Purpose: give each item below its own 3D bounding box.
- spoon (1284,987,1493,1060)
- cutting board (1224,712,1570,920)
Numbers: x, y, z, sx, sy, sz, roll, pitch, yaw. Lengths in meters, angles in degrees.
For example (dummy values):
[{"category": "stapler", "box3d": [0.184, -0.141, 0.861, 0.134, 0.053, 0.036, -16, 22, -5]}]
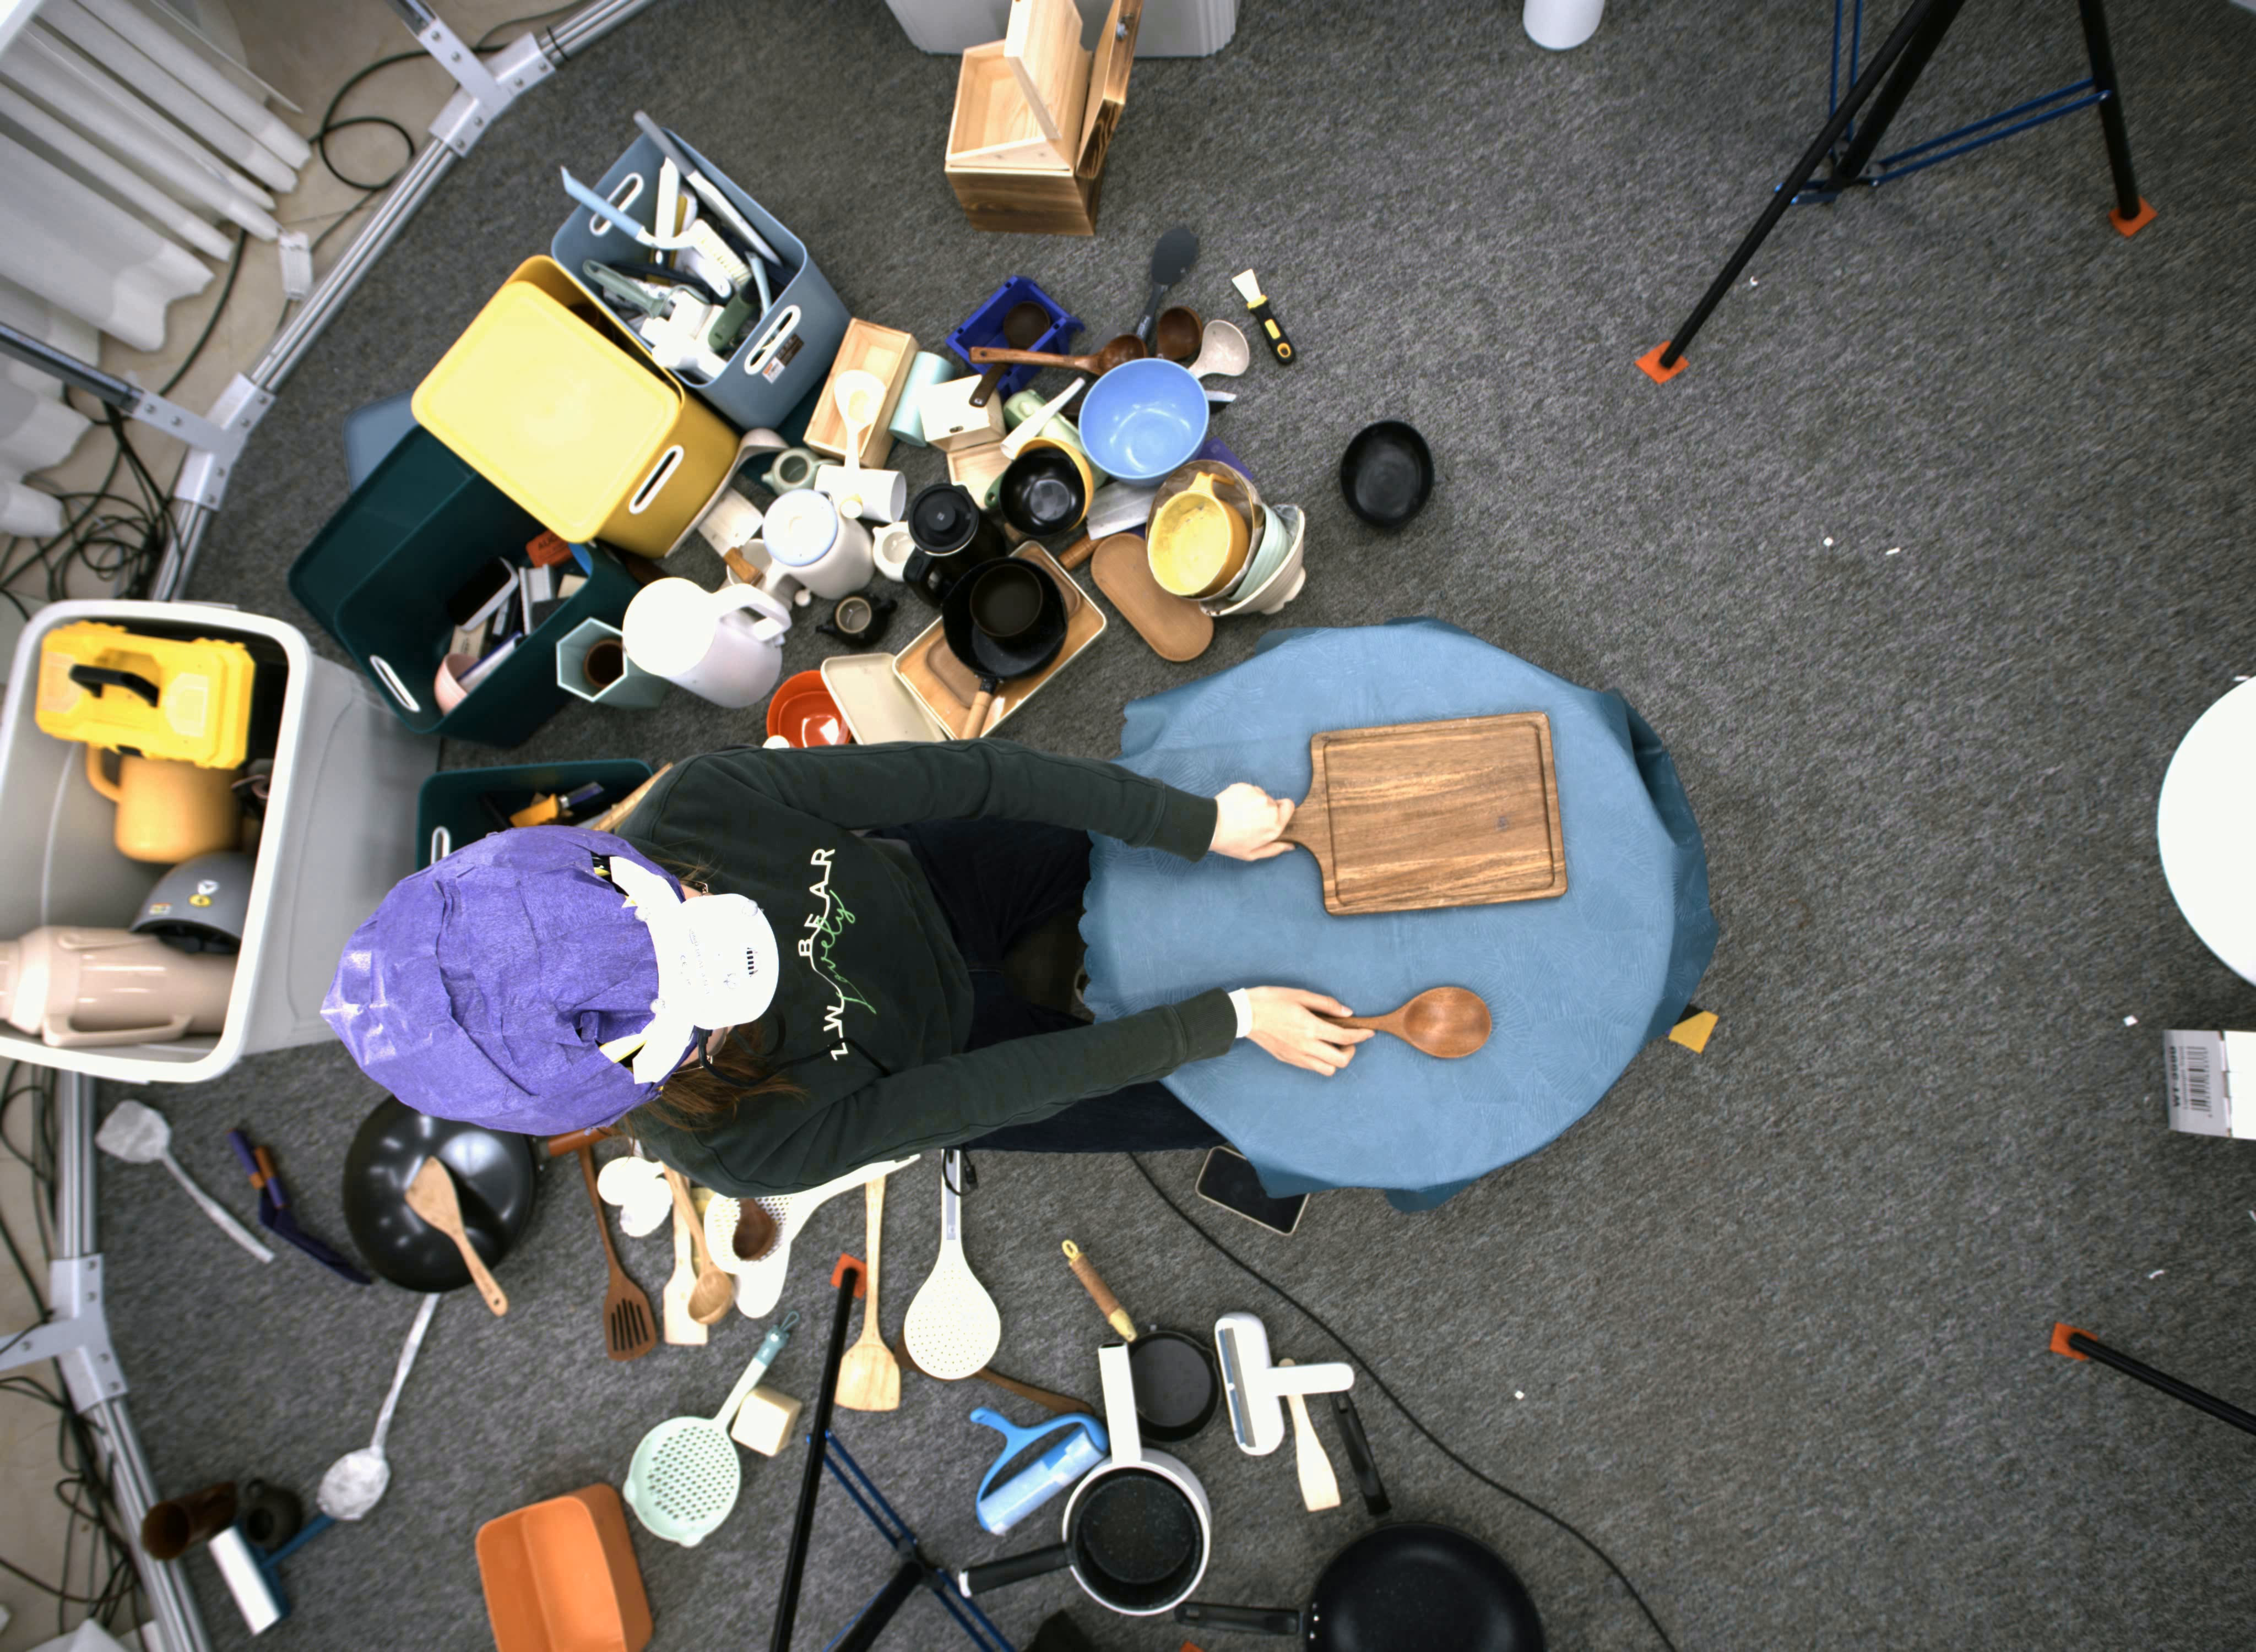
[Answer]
[{"category": "spoon", "box3d": [0.271, 0.206, 1.446, 0.217, 0.017, 0.075, -3, 87, 9]}, {"category": "cutting board", "box3d": [0.277, -0.007, 1.455, 0.353, 0.023, 0.200, -5, 87, 8]}]
